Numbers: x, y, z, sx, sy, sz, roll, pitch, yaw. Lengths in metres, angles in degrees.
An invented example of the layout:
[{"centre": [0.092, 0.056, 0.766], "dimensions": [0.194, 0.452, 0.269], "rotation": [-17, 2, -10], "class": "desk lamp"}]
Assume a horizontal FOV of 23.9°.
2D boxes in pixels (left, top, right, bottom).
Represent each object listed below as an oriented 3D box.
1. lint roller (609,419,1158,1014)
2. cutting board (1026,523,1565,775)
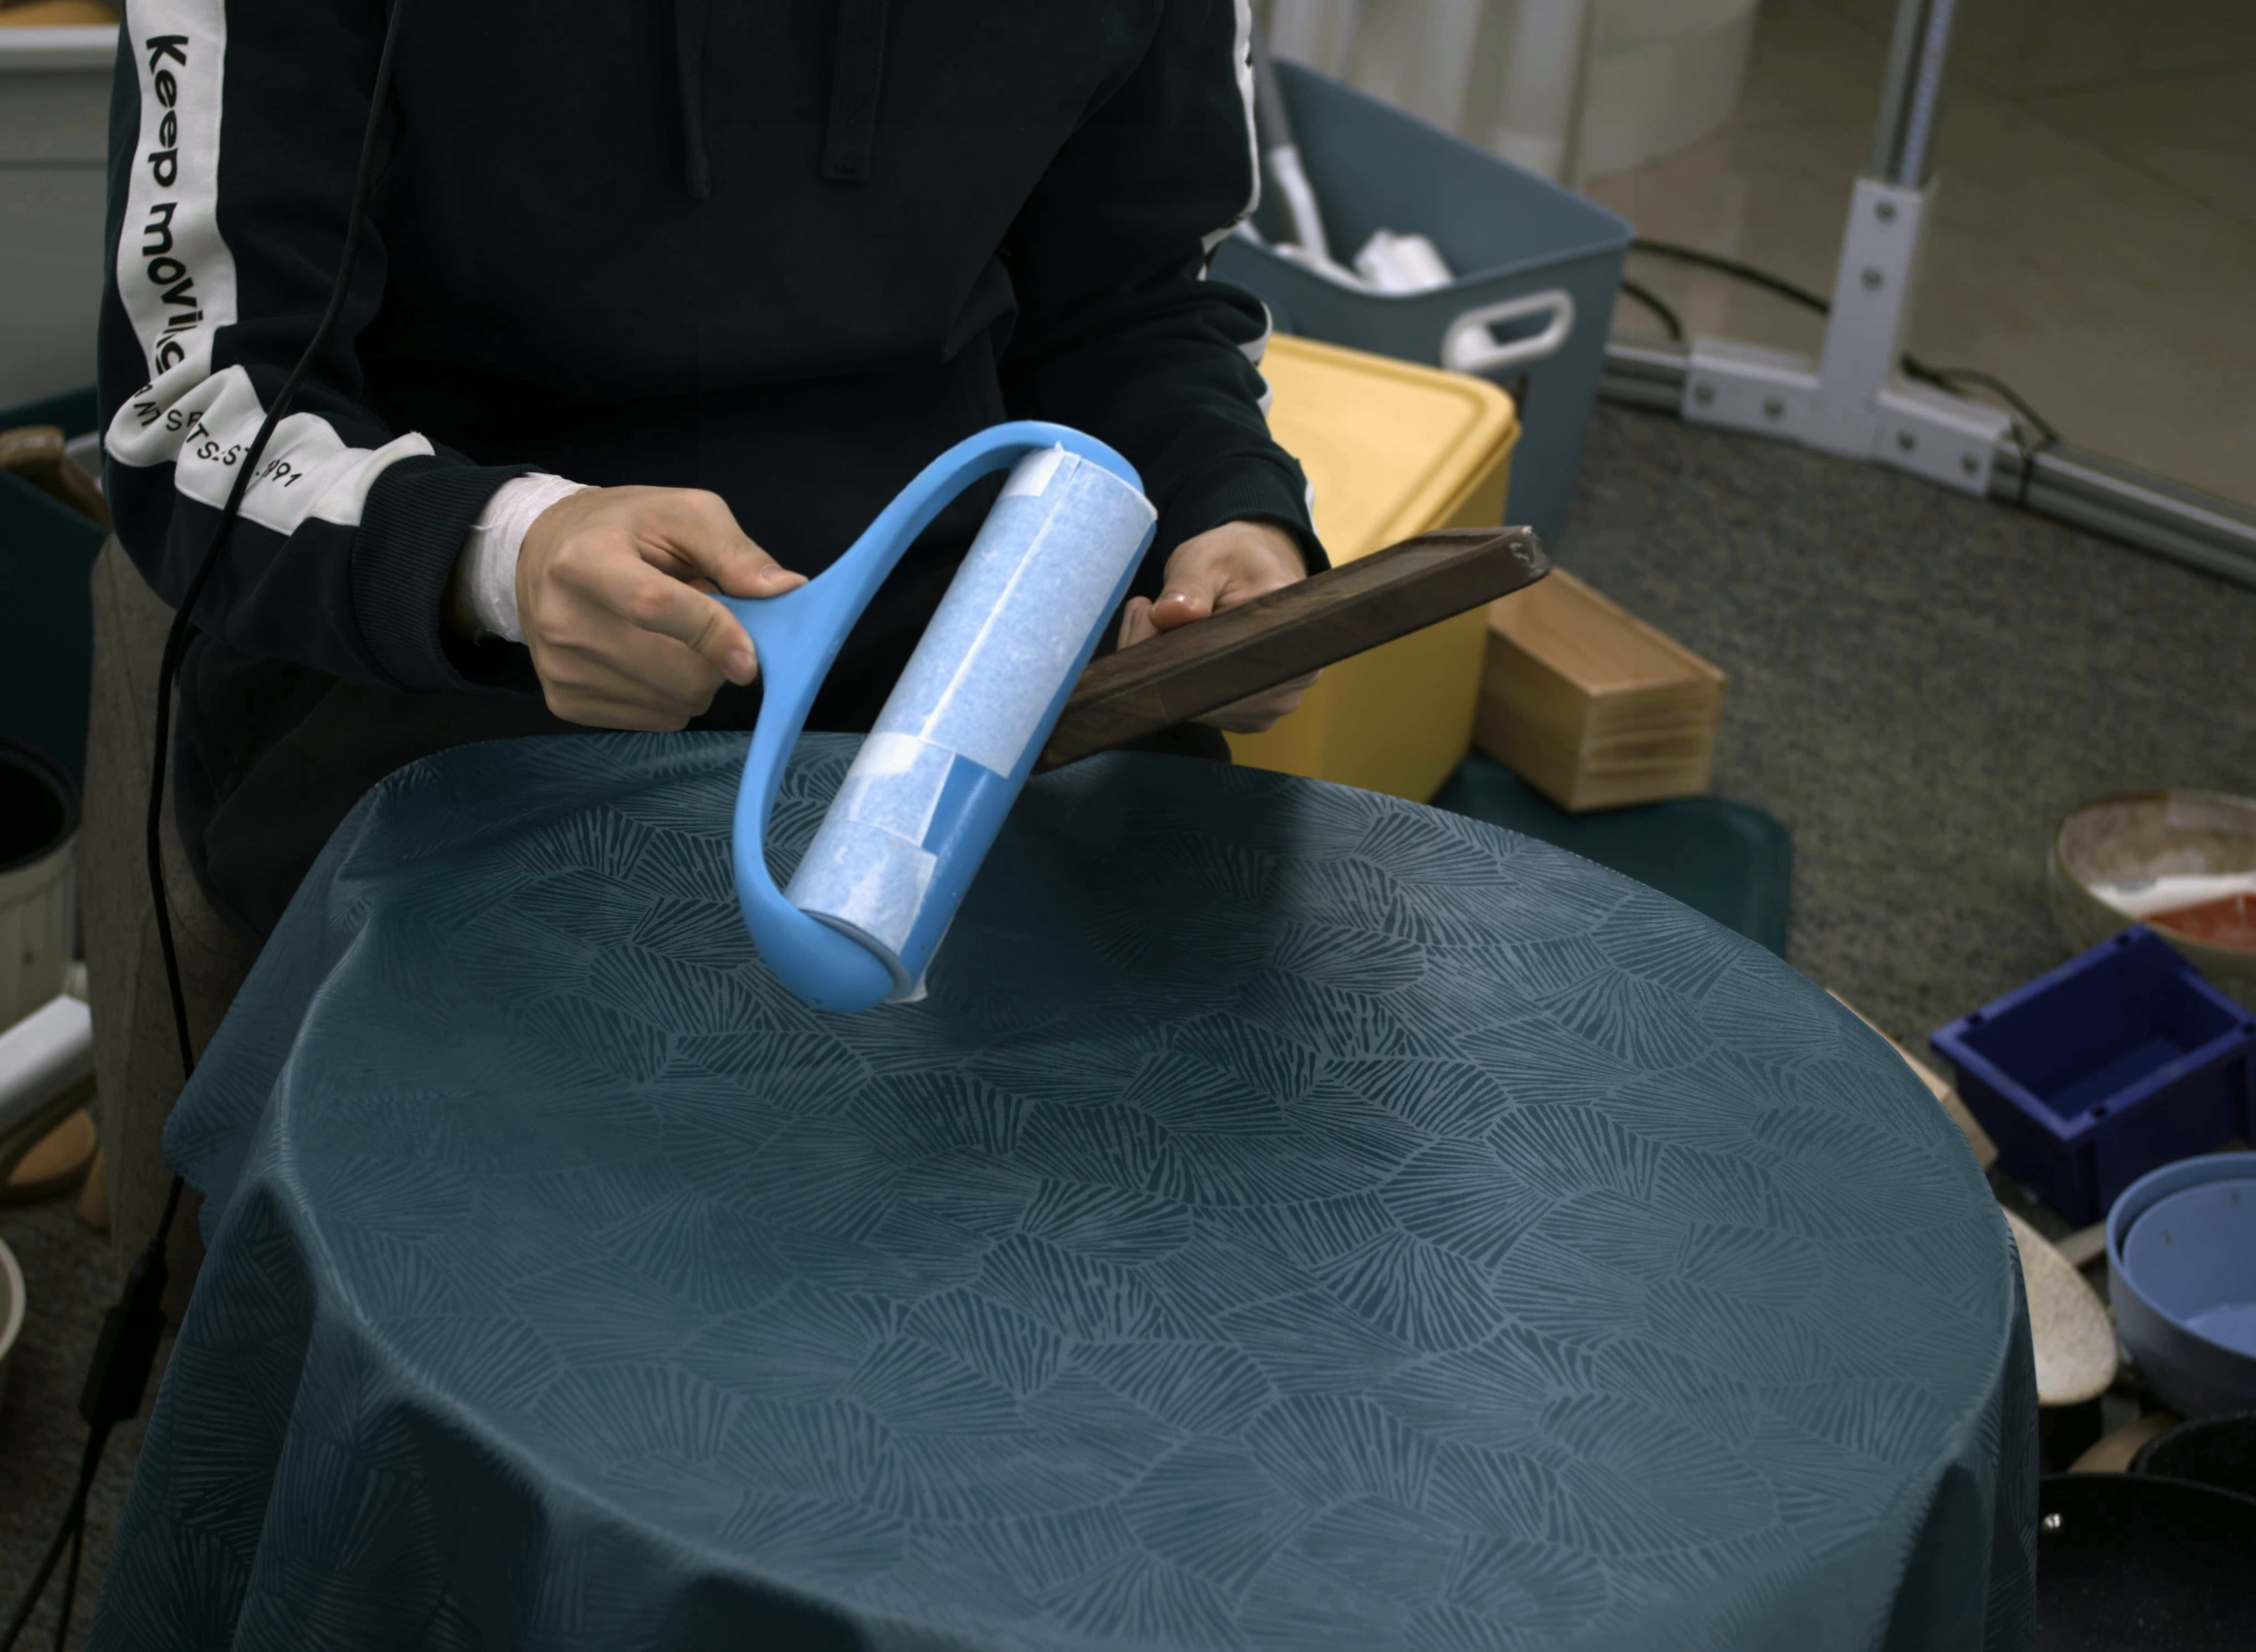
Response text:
[{"centre": [-0.107, -0.050, 1.810], "dimensions": [0.181, 0.067, 0.230], "rotation": [13, 63, 22], "class": "lint roller"}, {"centre": [0.038, -0.066, 1.989], "dimensions": [0.200, 0.023, 0.352], "rotation": [-21, 4, -5], "class": "cutting board"}]
